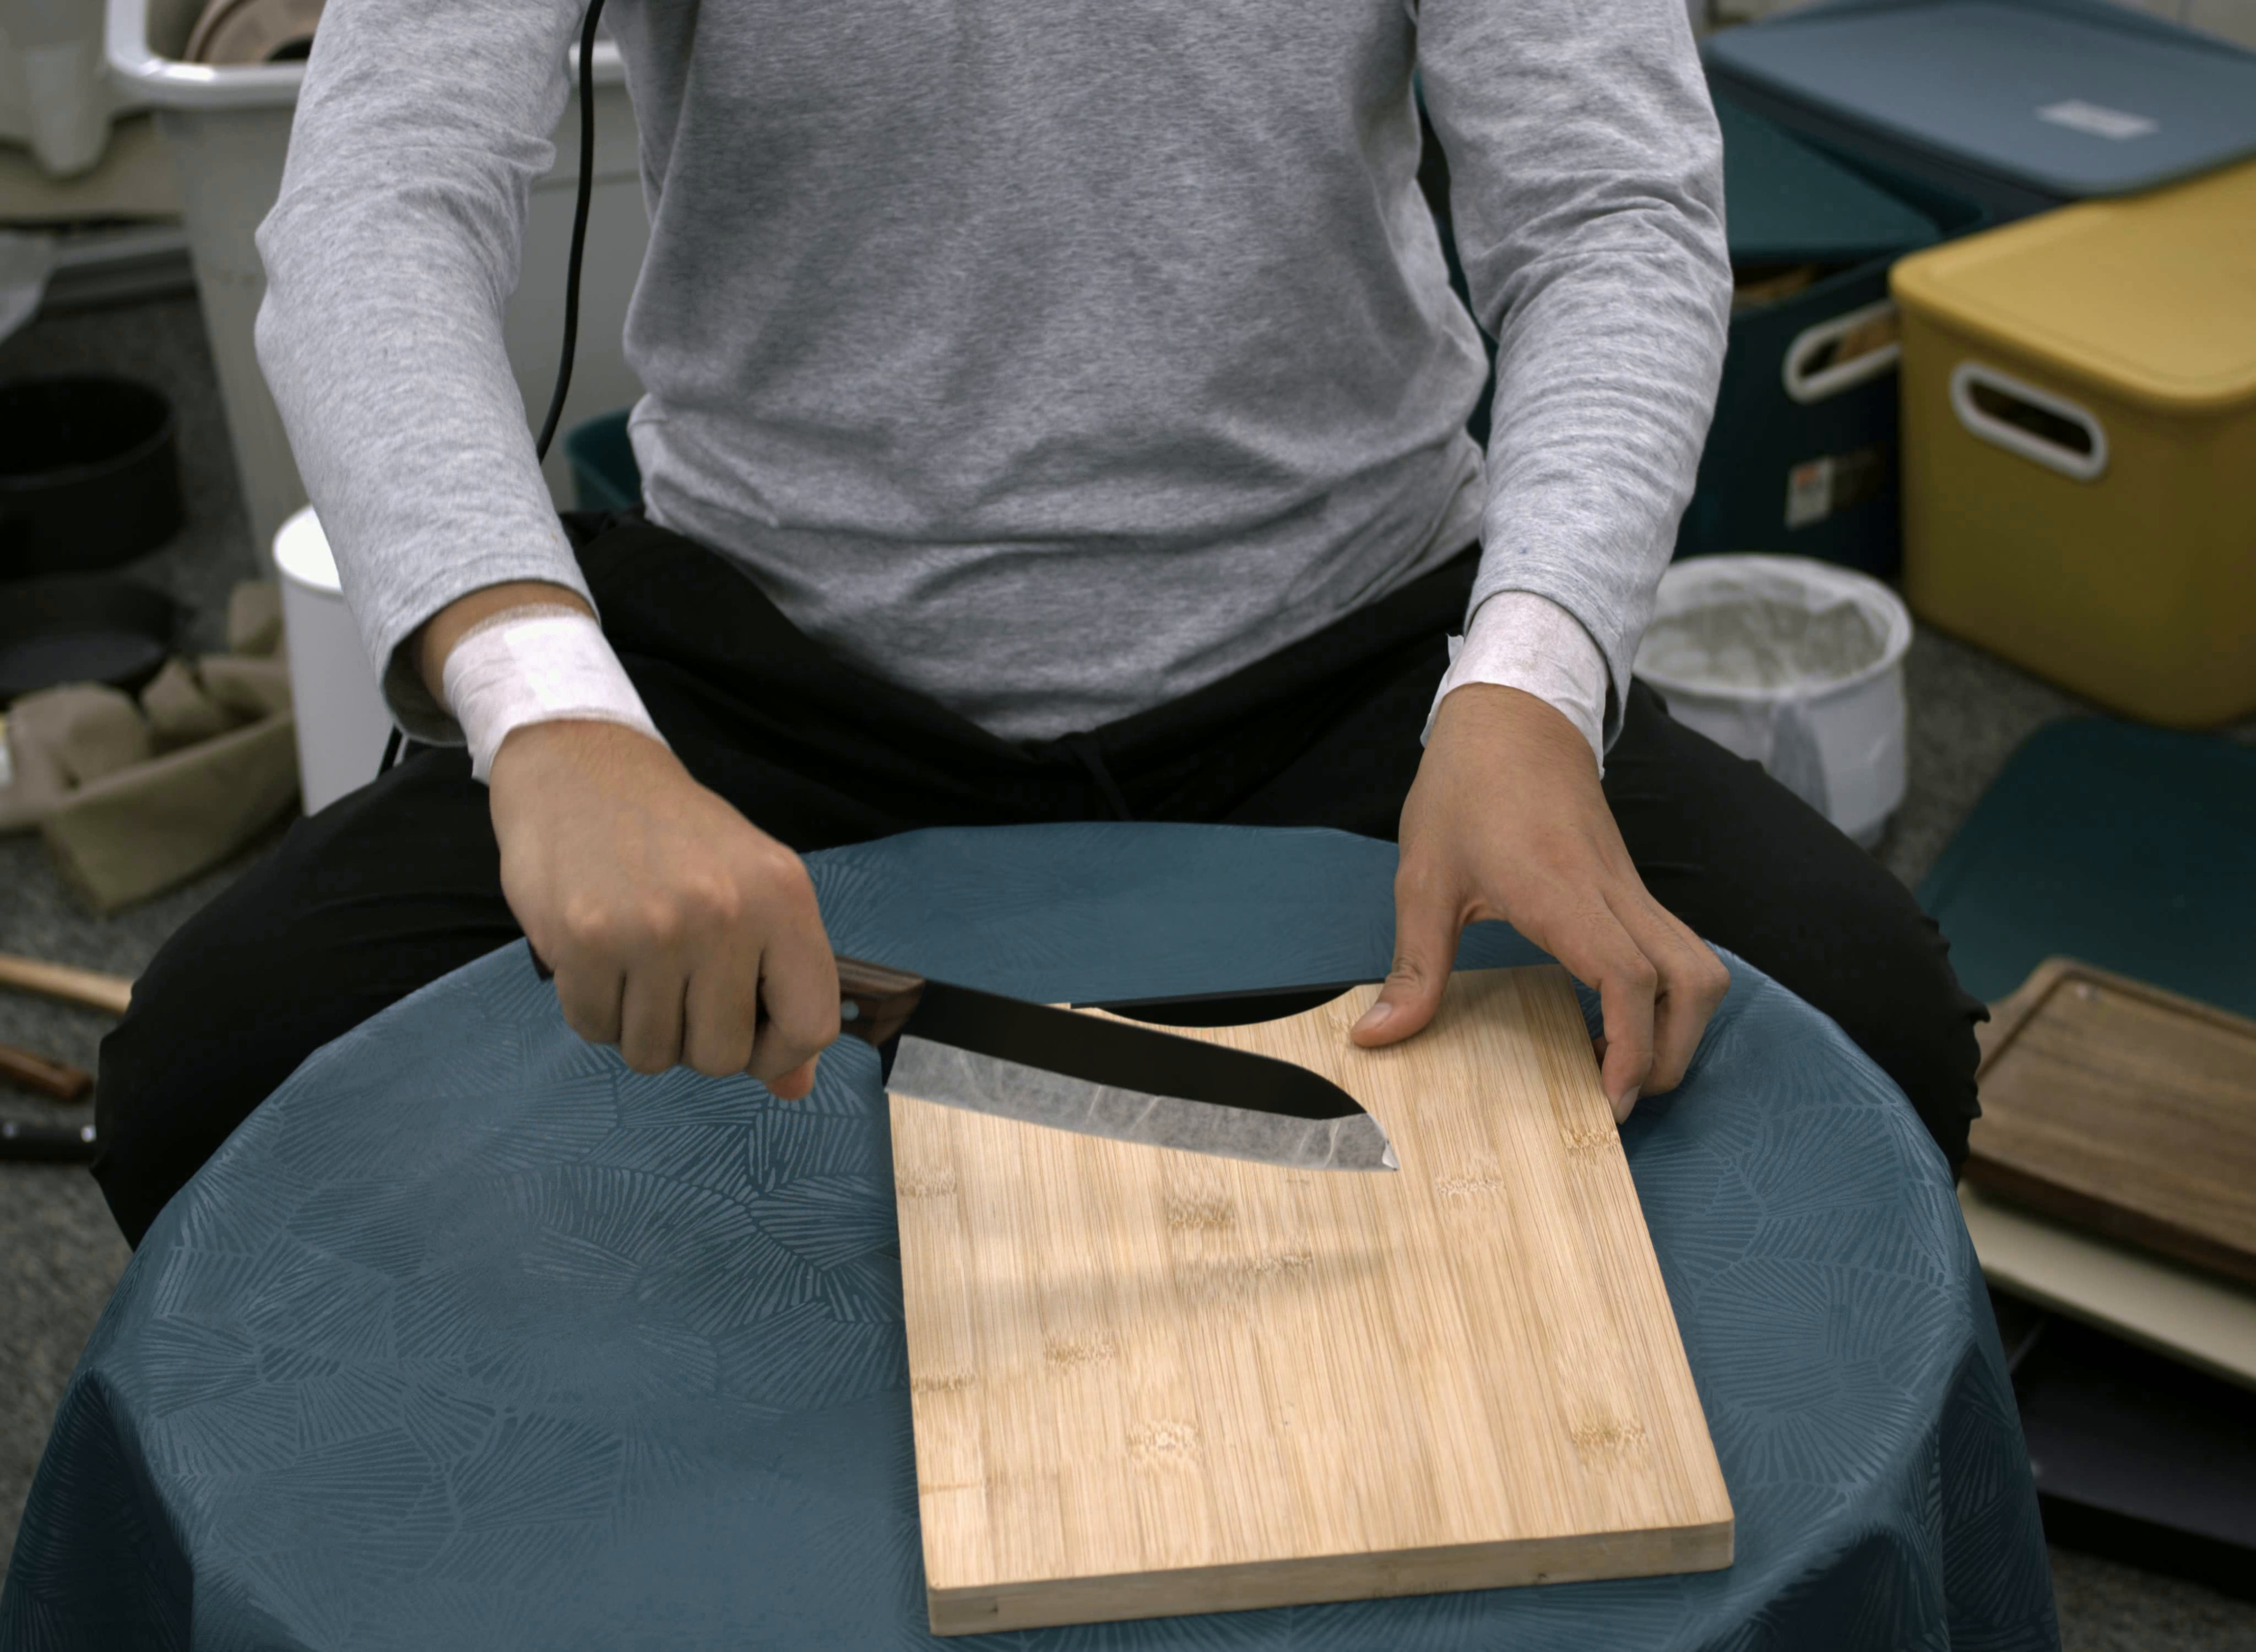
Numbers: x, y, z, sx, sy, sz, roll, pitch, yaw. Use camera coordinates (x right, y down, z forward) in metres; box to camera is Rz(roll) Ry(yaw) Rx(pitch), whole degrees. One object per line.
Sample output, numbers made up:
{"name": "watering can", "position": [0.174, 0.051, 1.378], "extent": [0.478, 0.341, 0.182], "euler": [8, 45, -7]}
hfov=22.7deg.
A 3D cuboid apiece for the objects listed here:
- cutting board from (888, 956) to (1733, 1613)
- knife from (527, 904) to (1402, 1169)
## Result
{"name": "cutting board", "position": [0.047, 0.141, 1.802], "extent": [0.250, 0.023, 0.353], "euler": [-4, 27, -4]}
{"name": "knife", "position": [-0.051, 0.069, 1.772], "extent": [0.288, 0.049, 0.020], "euler": [15, 29, -7]}
